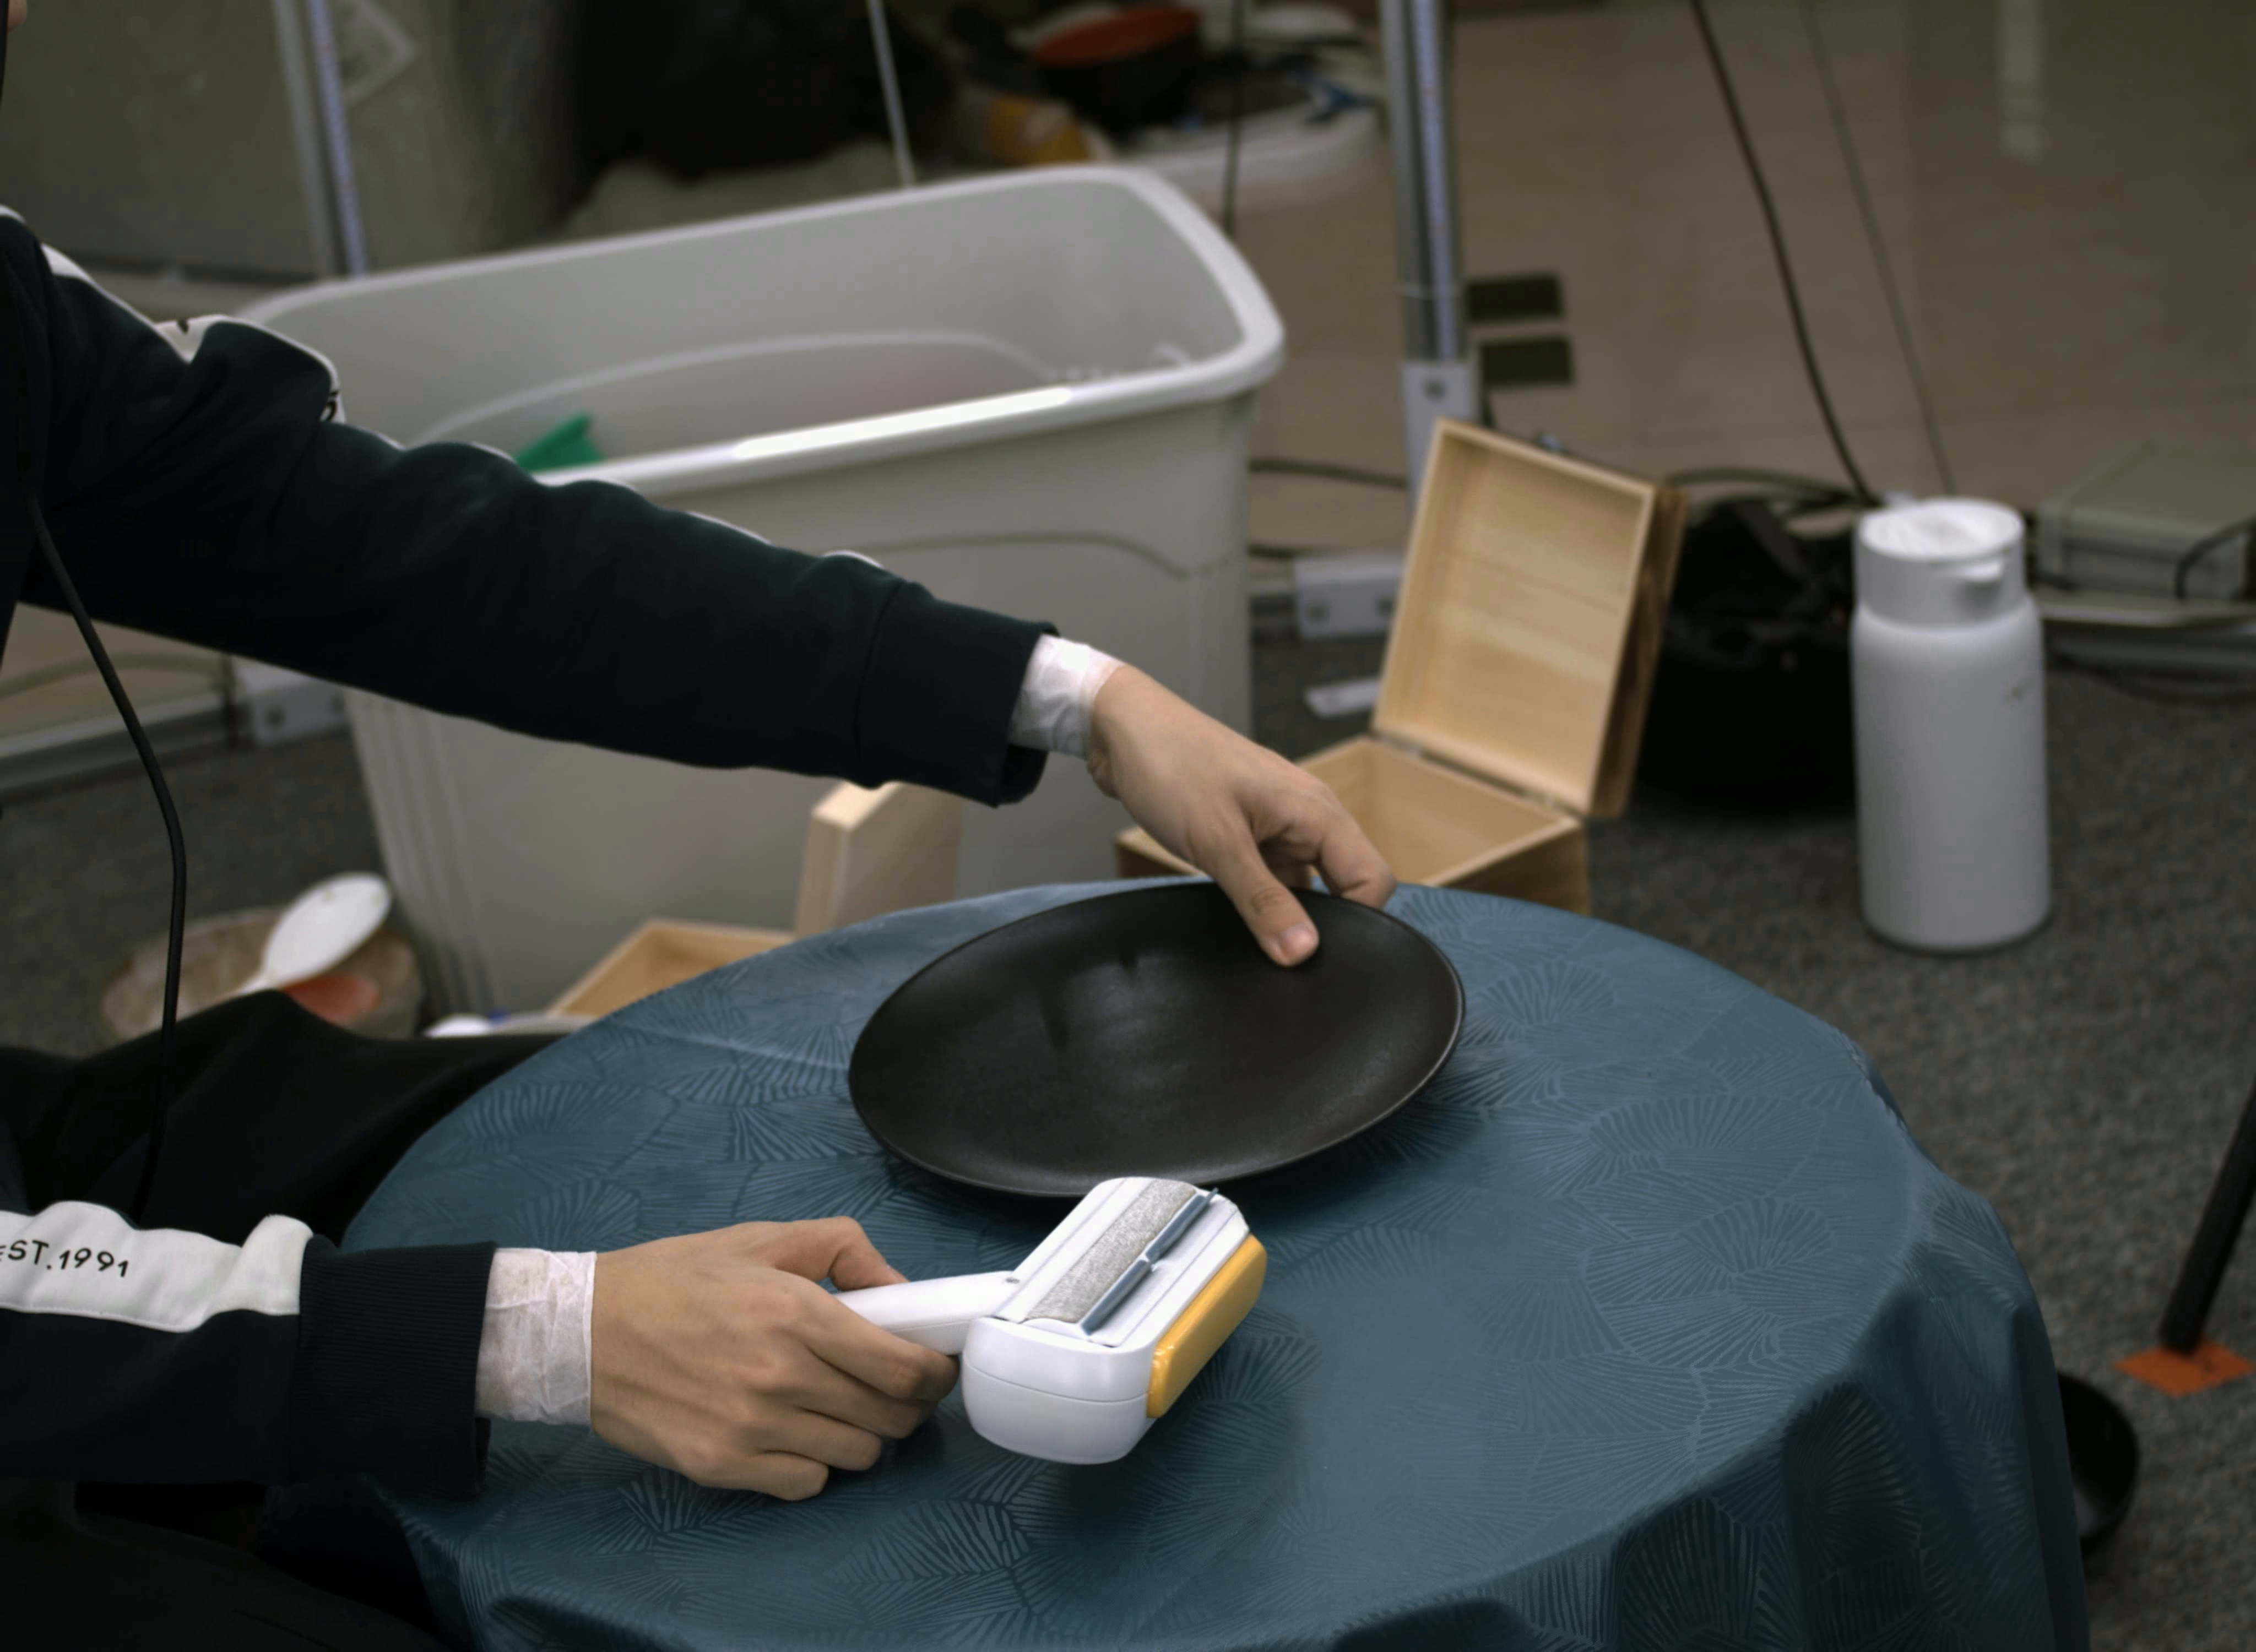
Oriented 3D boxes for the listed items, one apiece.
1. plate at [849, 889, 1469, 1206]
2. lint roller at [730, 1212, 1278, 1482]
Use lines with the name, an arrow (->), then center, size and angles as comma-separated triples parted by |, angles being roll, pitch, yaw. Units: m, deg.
plate -> 0.013, 0.090, 2.208 | 0.244, 0.024, 0.240 | -7, 27, 4
lint roller -> -0.058, 0.192, 1.997 | 0.192, 0.075, 0.191 | -8, 12, 25
